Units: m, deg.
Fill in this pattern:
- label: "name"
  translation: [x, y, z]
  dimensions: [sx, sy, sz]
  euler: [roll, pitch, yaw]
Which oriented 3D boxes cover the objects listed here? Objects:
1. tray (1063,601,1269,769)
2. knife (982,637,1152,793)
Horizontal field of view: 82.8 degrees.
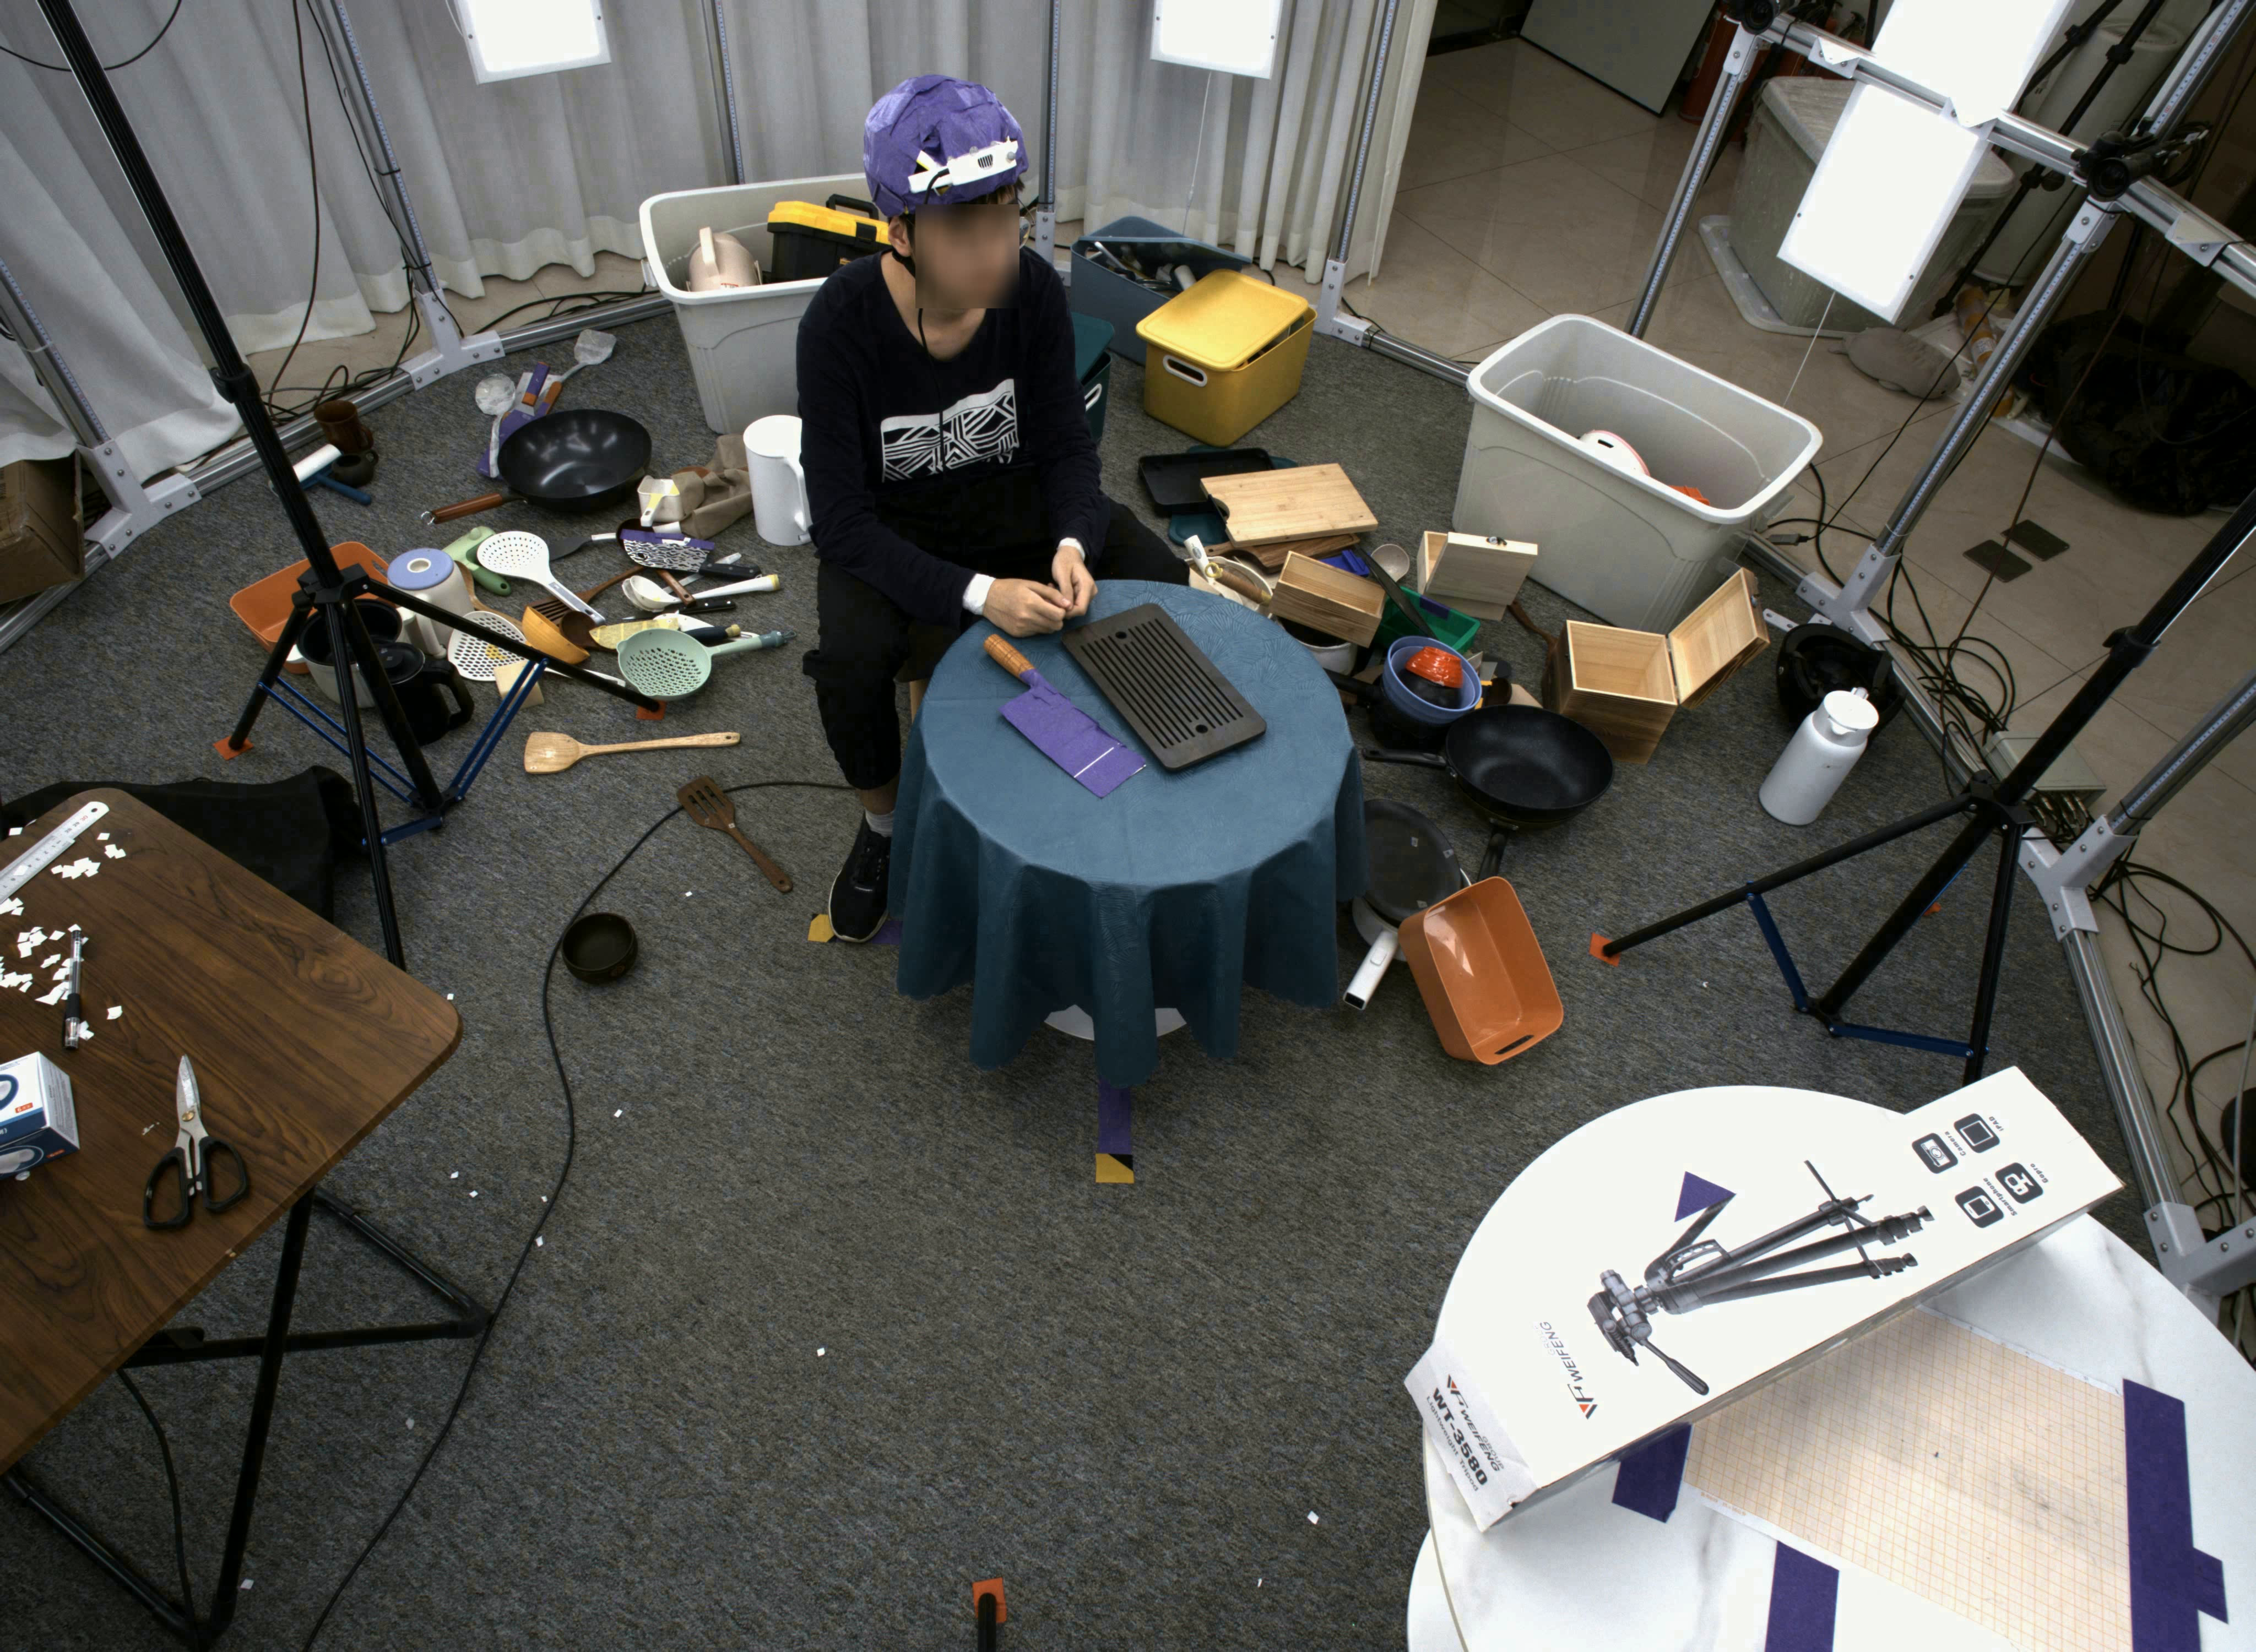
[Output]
- label: "tray"
  translation: [0.051, -0.206, 1.837]
  dimensions: [0.170, 0.018, 0.312]
  euler: [-23, 54, -22]
- label: "knife"
  translation: [-0.111, -0.157, 1.778]
  dimensions: [0.105, 0.031, 0.320]
  euler: [-35, 60, -30]
